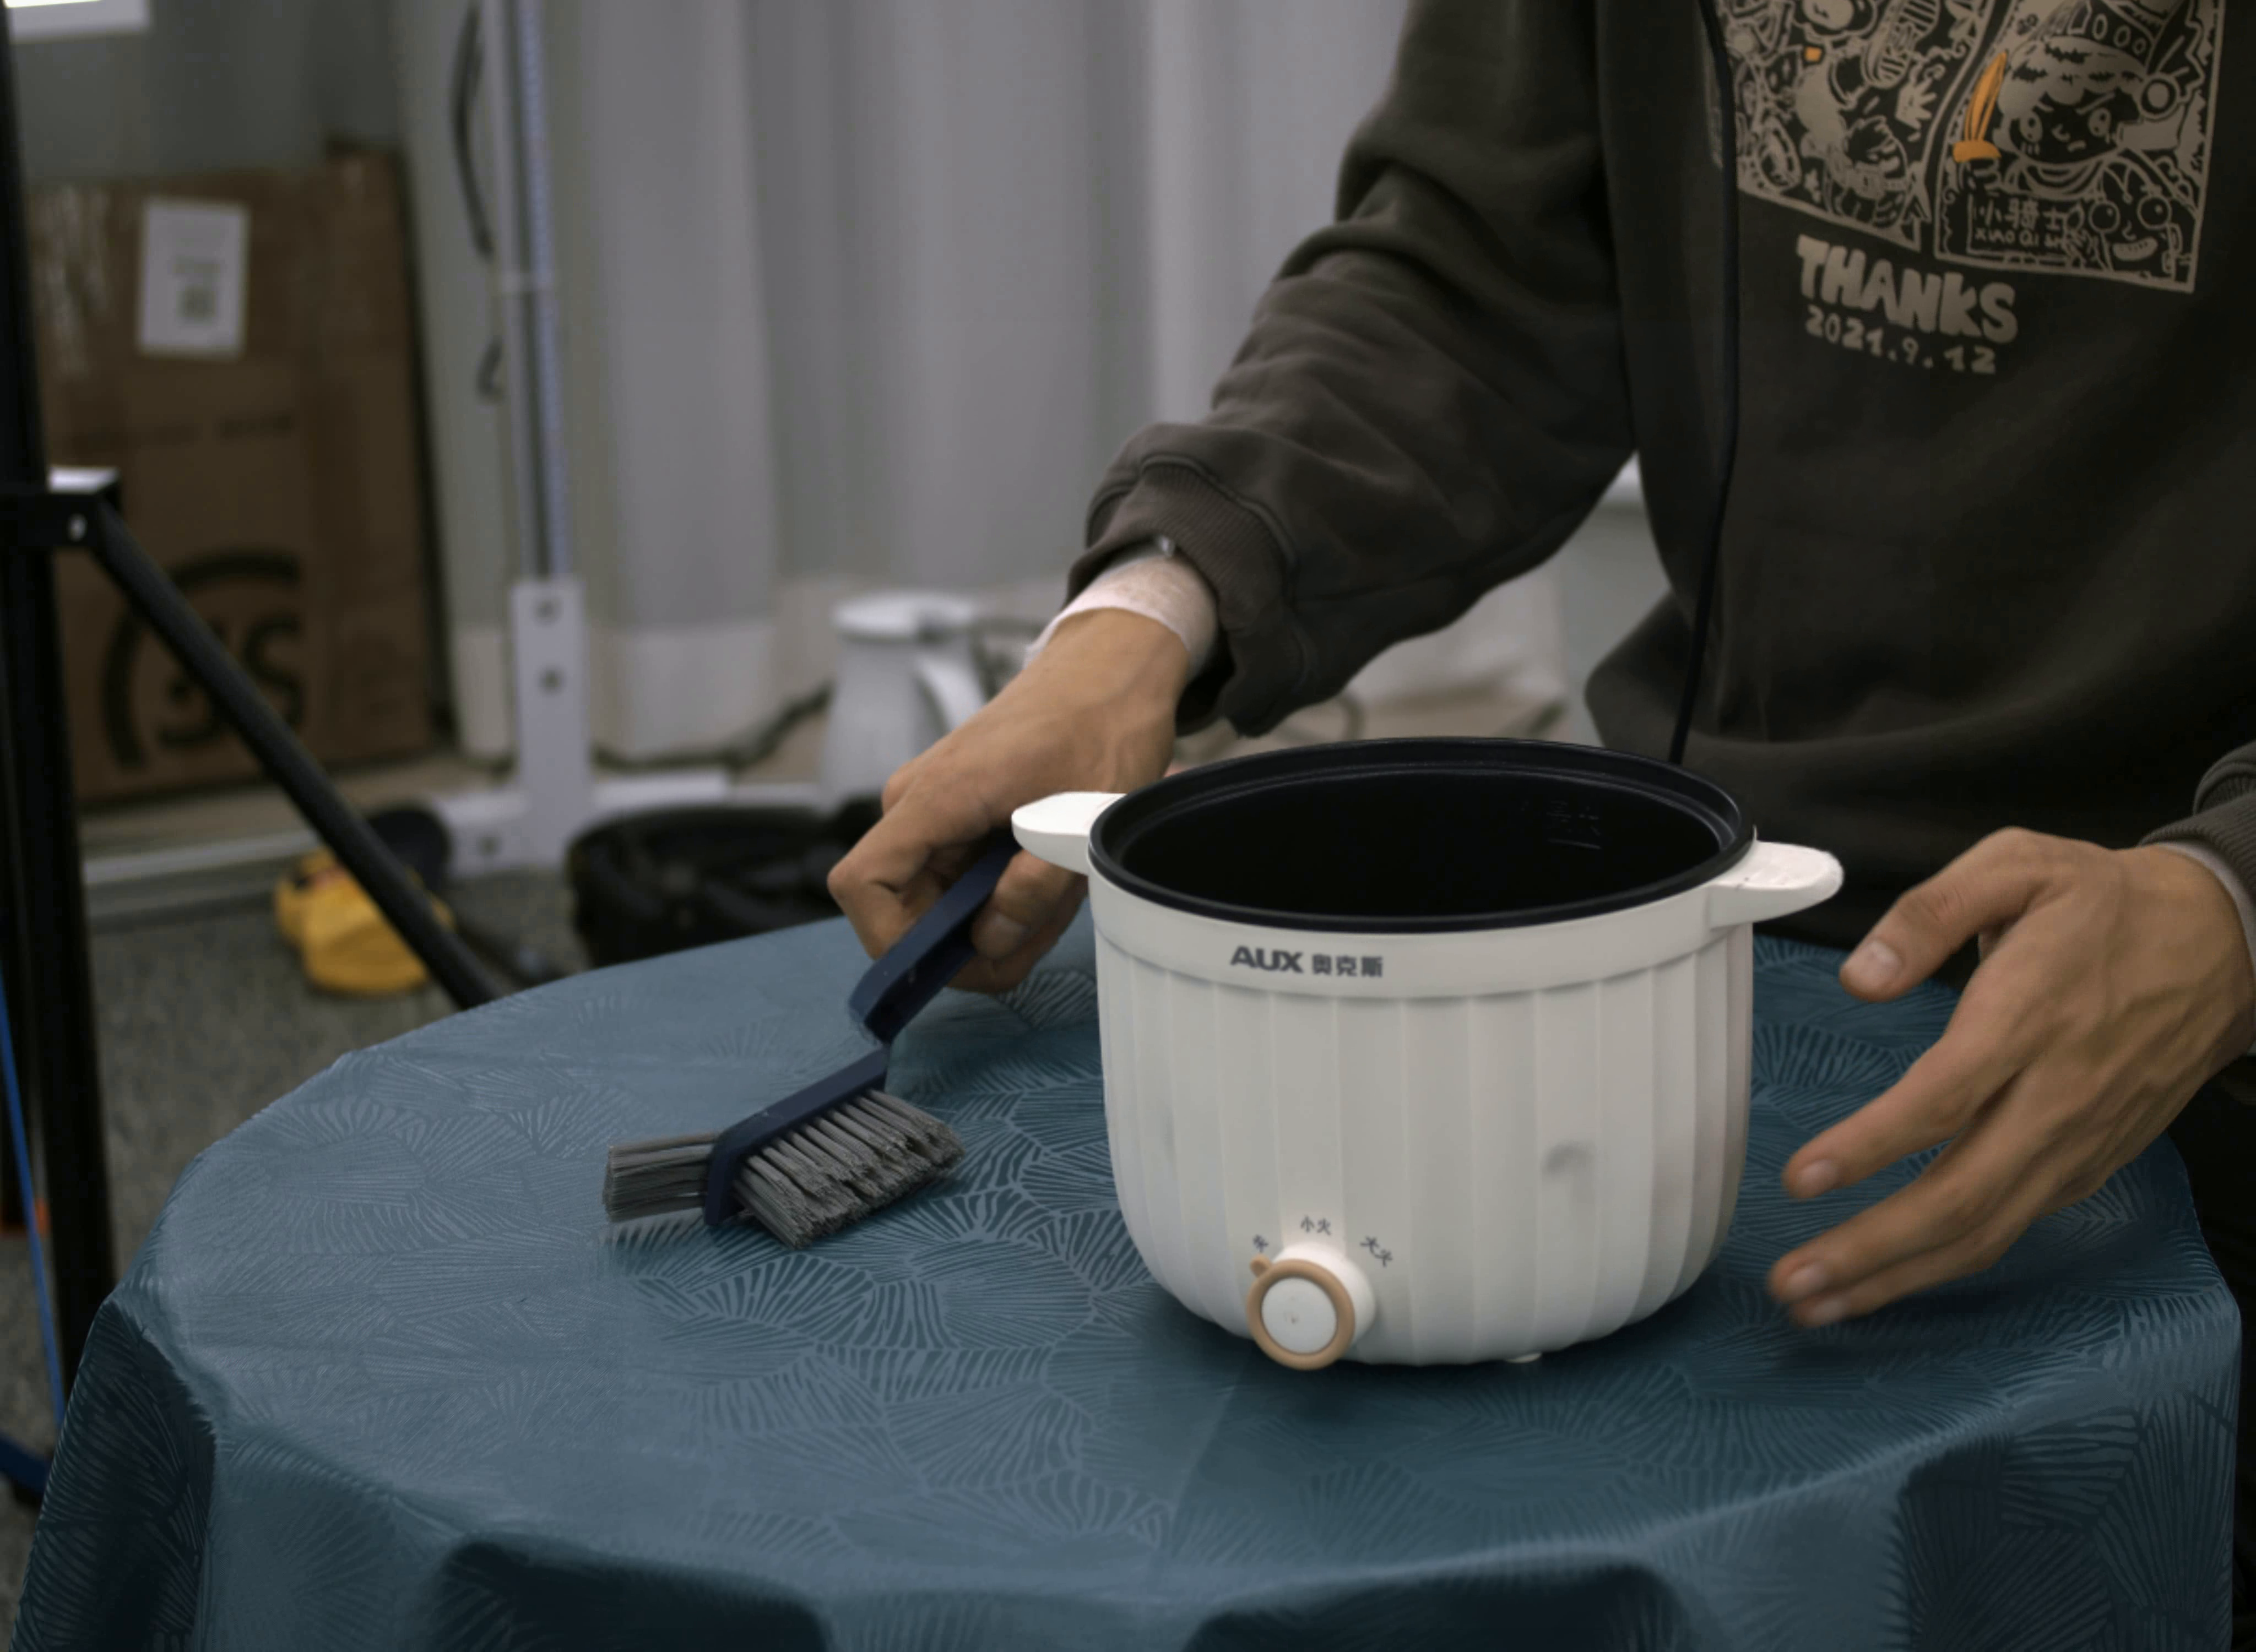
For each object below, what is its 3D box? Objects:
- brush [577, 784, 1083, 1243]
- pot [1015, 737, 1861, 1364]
[{"bbox_3d":[-0.082,0.053,1.652,0.096,0.033,0.272,12,29,11],"label":"brush"},{"bbox_3d":[0.082,0.064,1.448,0.244,0.143,0.187,3,13,24],"label":"pot"}]
